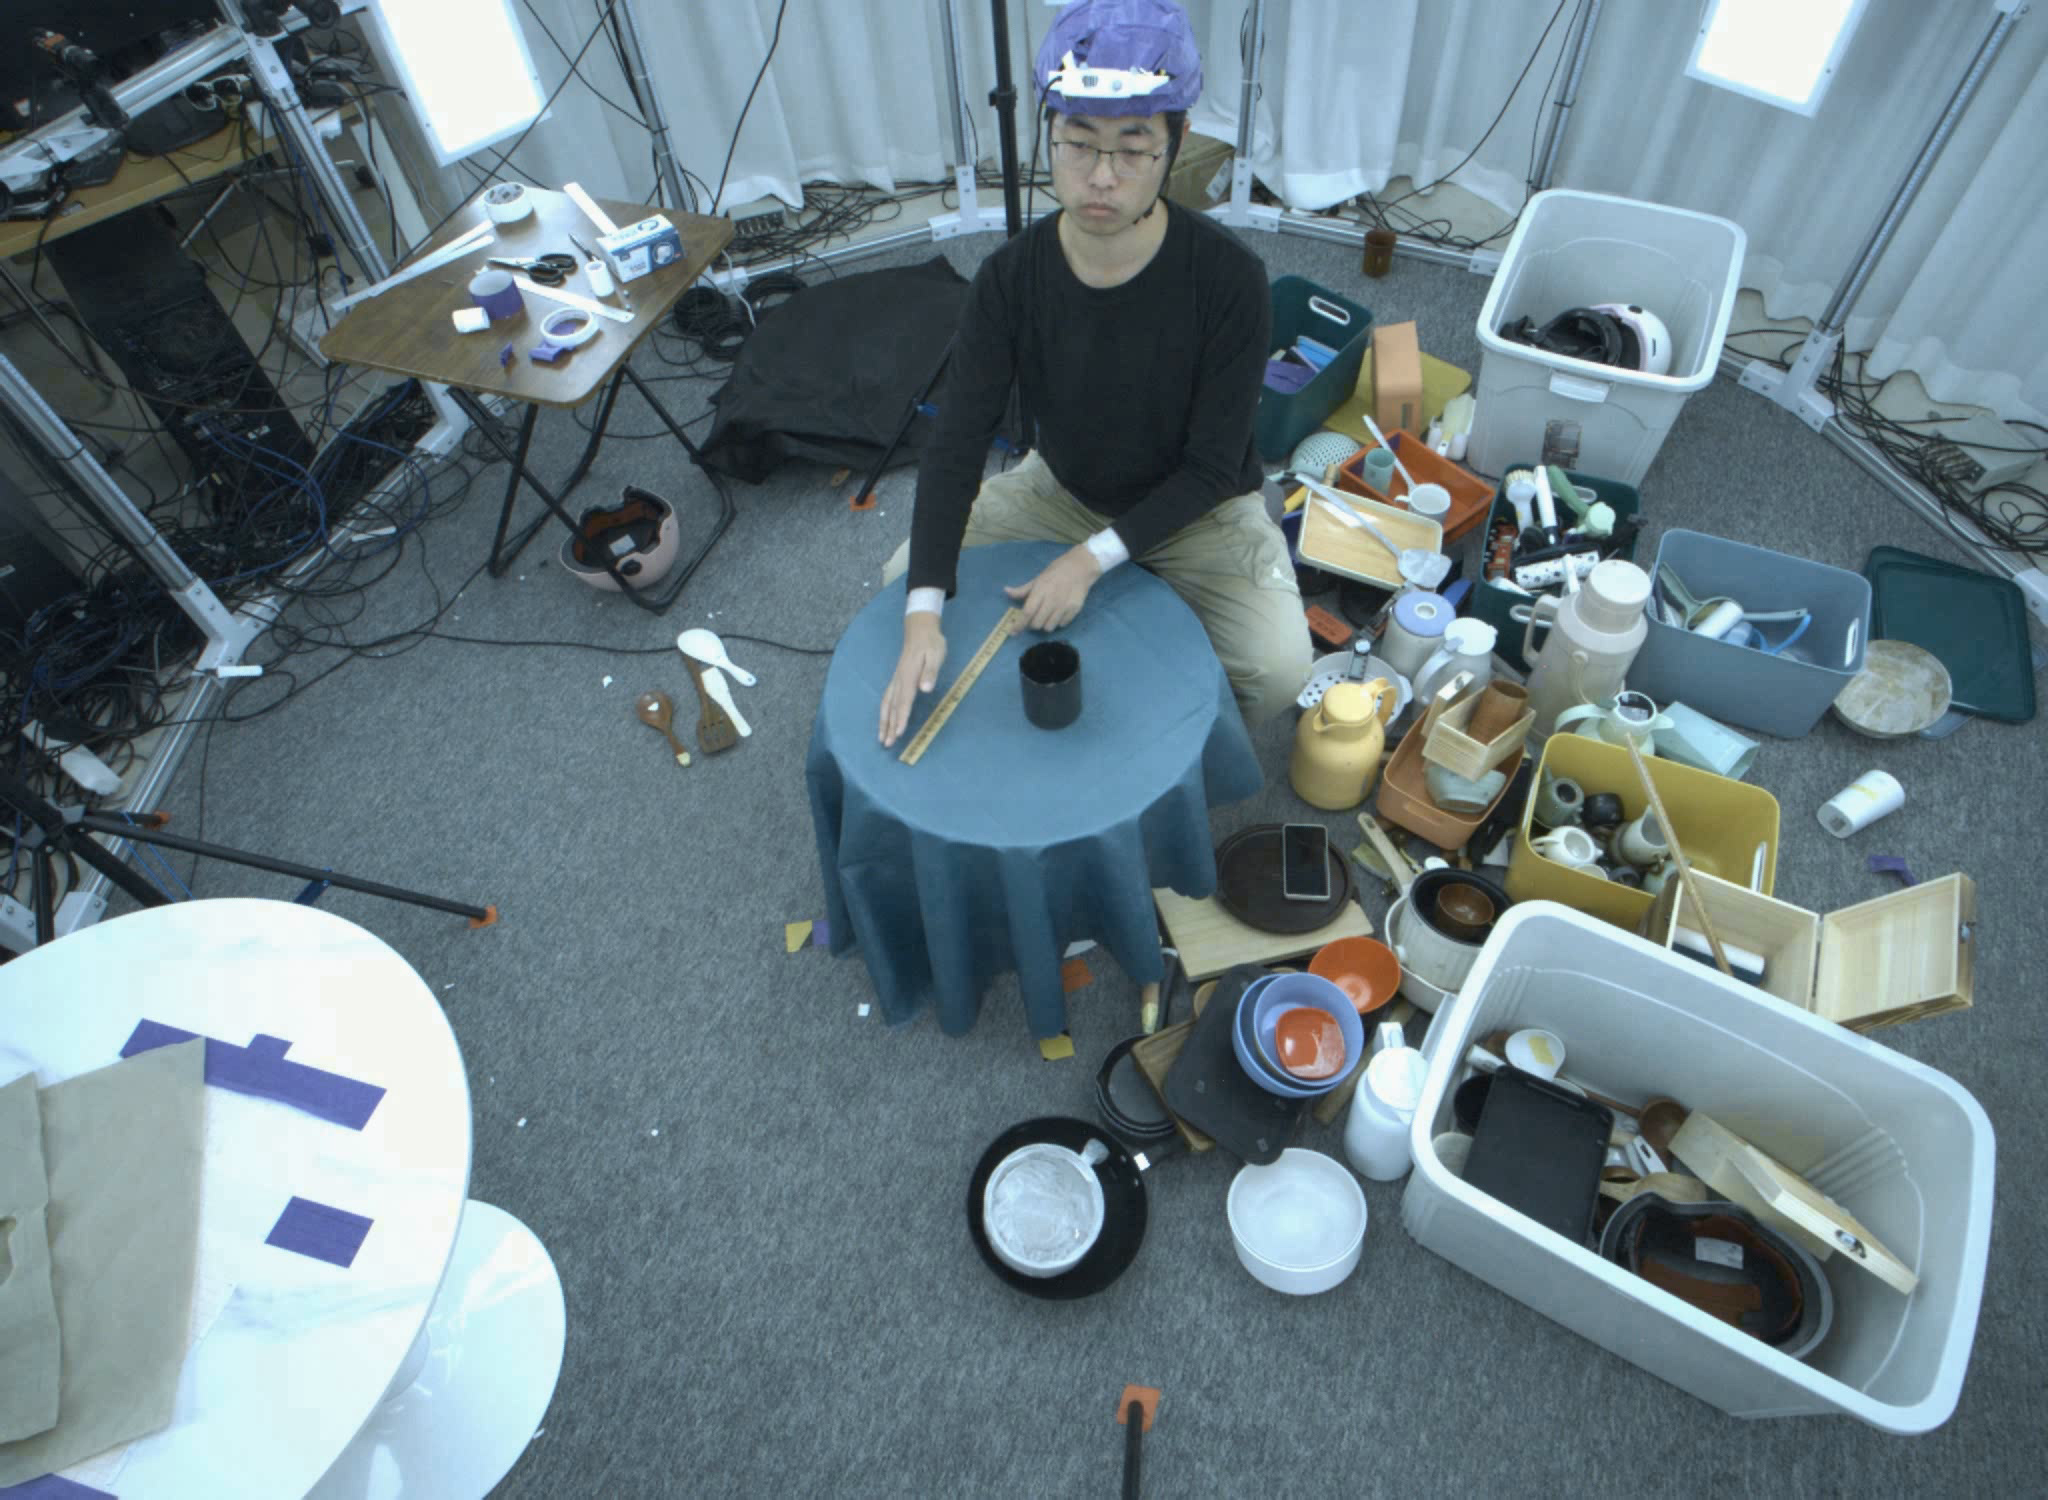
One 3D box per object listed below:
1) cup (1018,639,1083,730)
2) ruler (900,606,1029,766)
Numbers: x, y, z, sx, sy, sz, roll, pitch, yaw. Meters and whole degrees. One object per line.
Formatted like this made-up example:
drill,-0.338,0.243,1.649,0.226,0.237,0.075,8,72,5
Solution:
cup,0.045,-0.108,1.800,0.088,0.106,0.123,13,56,14
ruler,-0.087,-0.105,1.857,0.027,0.022,0.333,27,61,15
